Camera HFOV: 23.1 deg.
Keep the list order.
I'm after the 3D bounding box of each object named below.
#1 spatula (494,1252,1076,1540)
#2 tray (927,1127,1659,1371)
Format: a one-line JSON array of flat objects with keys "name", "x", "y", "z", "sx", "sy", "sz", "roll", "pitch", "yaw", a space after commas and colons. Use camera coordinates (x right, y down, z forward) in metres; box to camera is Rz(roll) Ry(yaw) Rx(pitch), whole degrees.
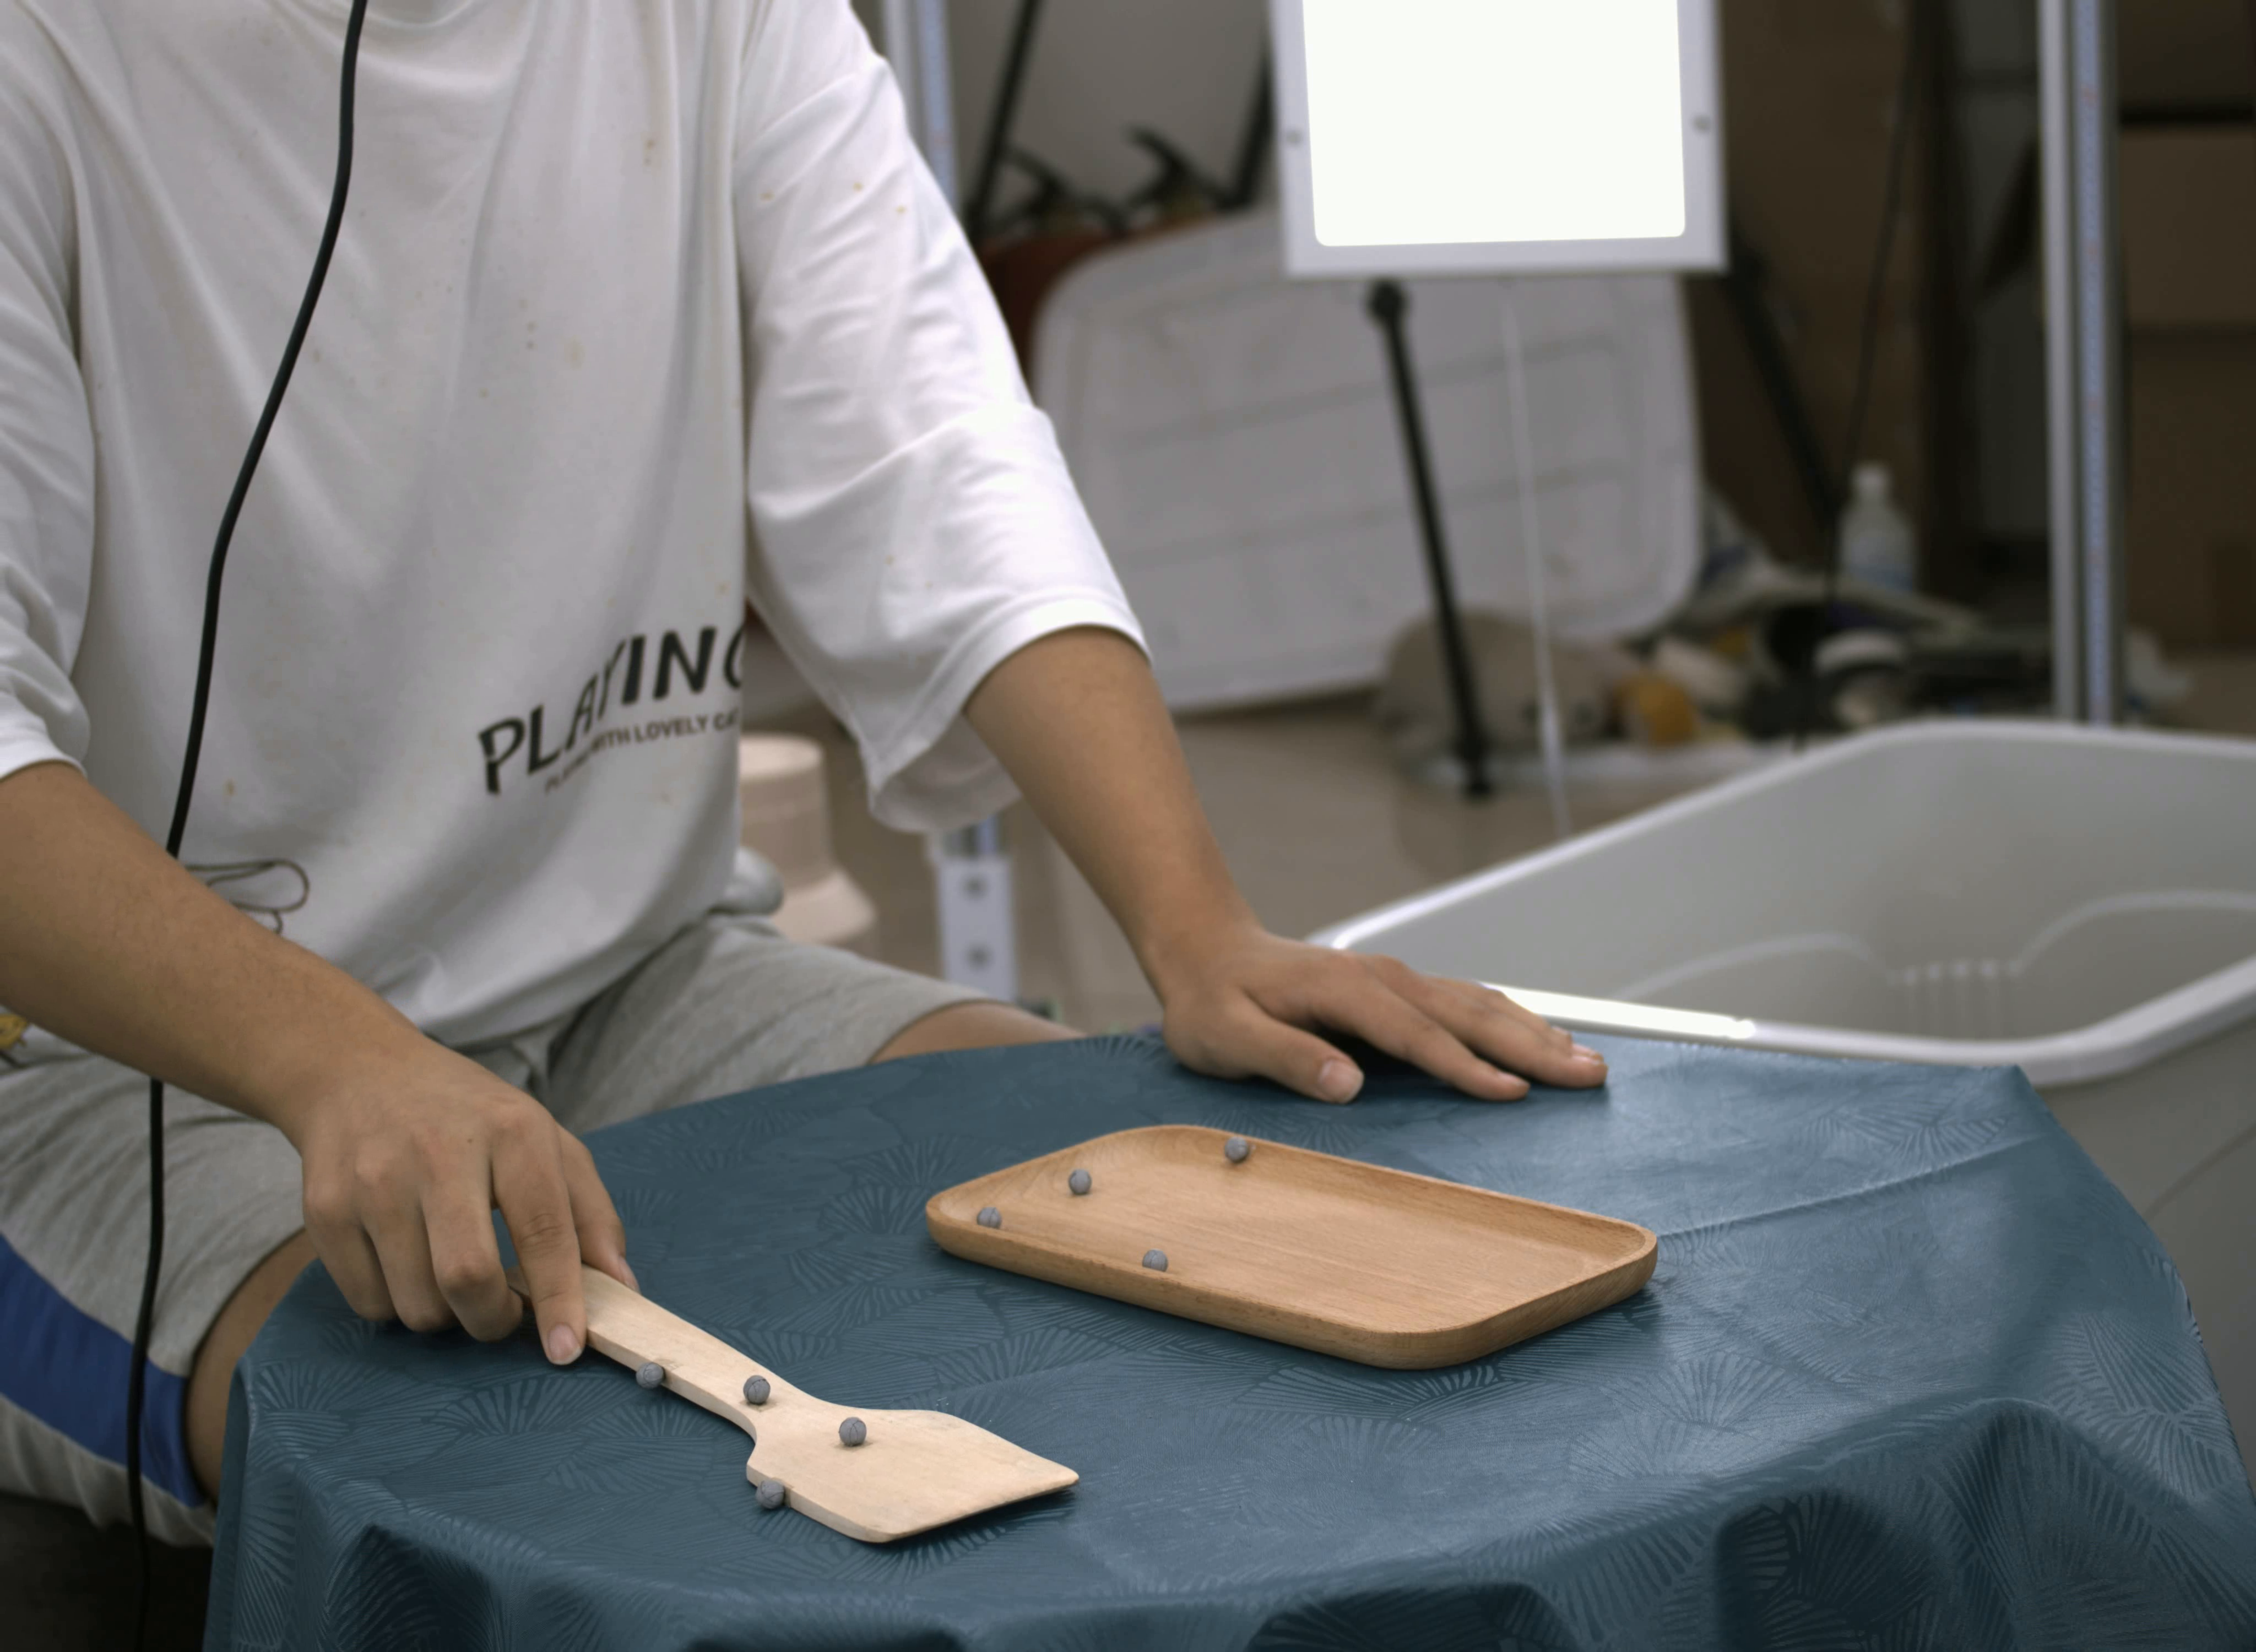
[{"name": "spatula", "x": -0.122, "y": 0.174, "z": 1.719, "sx": 0.070, "sy": 0.011, "sz": 0.298, "roll": -14, "pitch": 18, "yaw": -31}, {"name": "tray", "x": 0.052, "y": 0.137, "z": 1.804, "sx": 0.127, "sy": 0.023, "sz": 0.256, "roll": -19, "pitch": 19, "yaw": -37}]
